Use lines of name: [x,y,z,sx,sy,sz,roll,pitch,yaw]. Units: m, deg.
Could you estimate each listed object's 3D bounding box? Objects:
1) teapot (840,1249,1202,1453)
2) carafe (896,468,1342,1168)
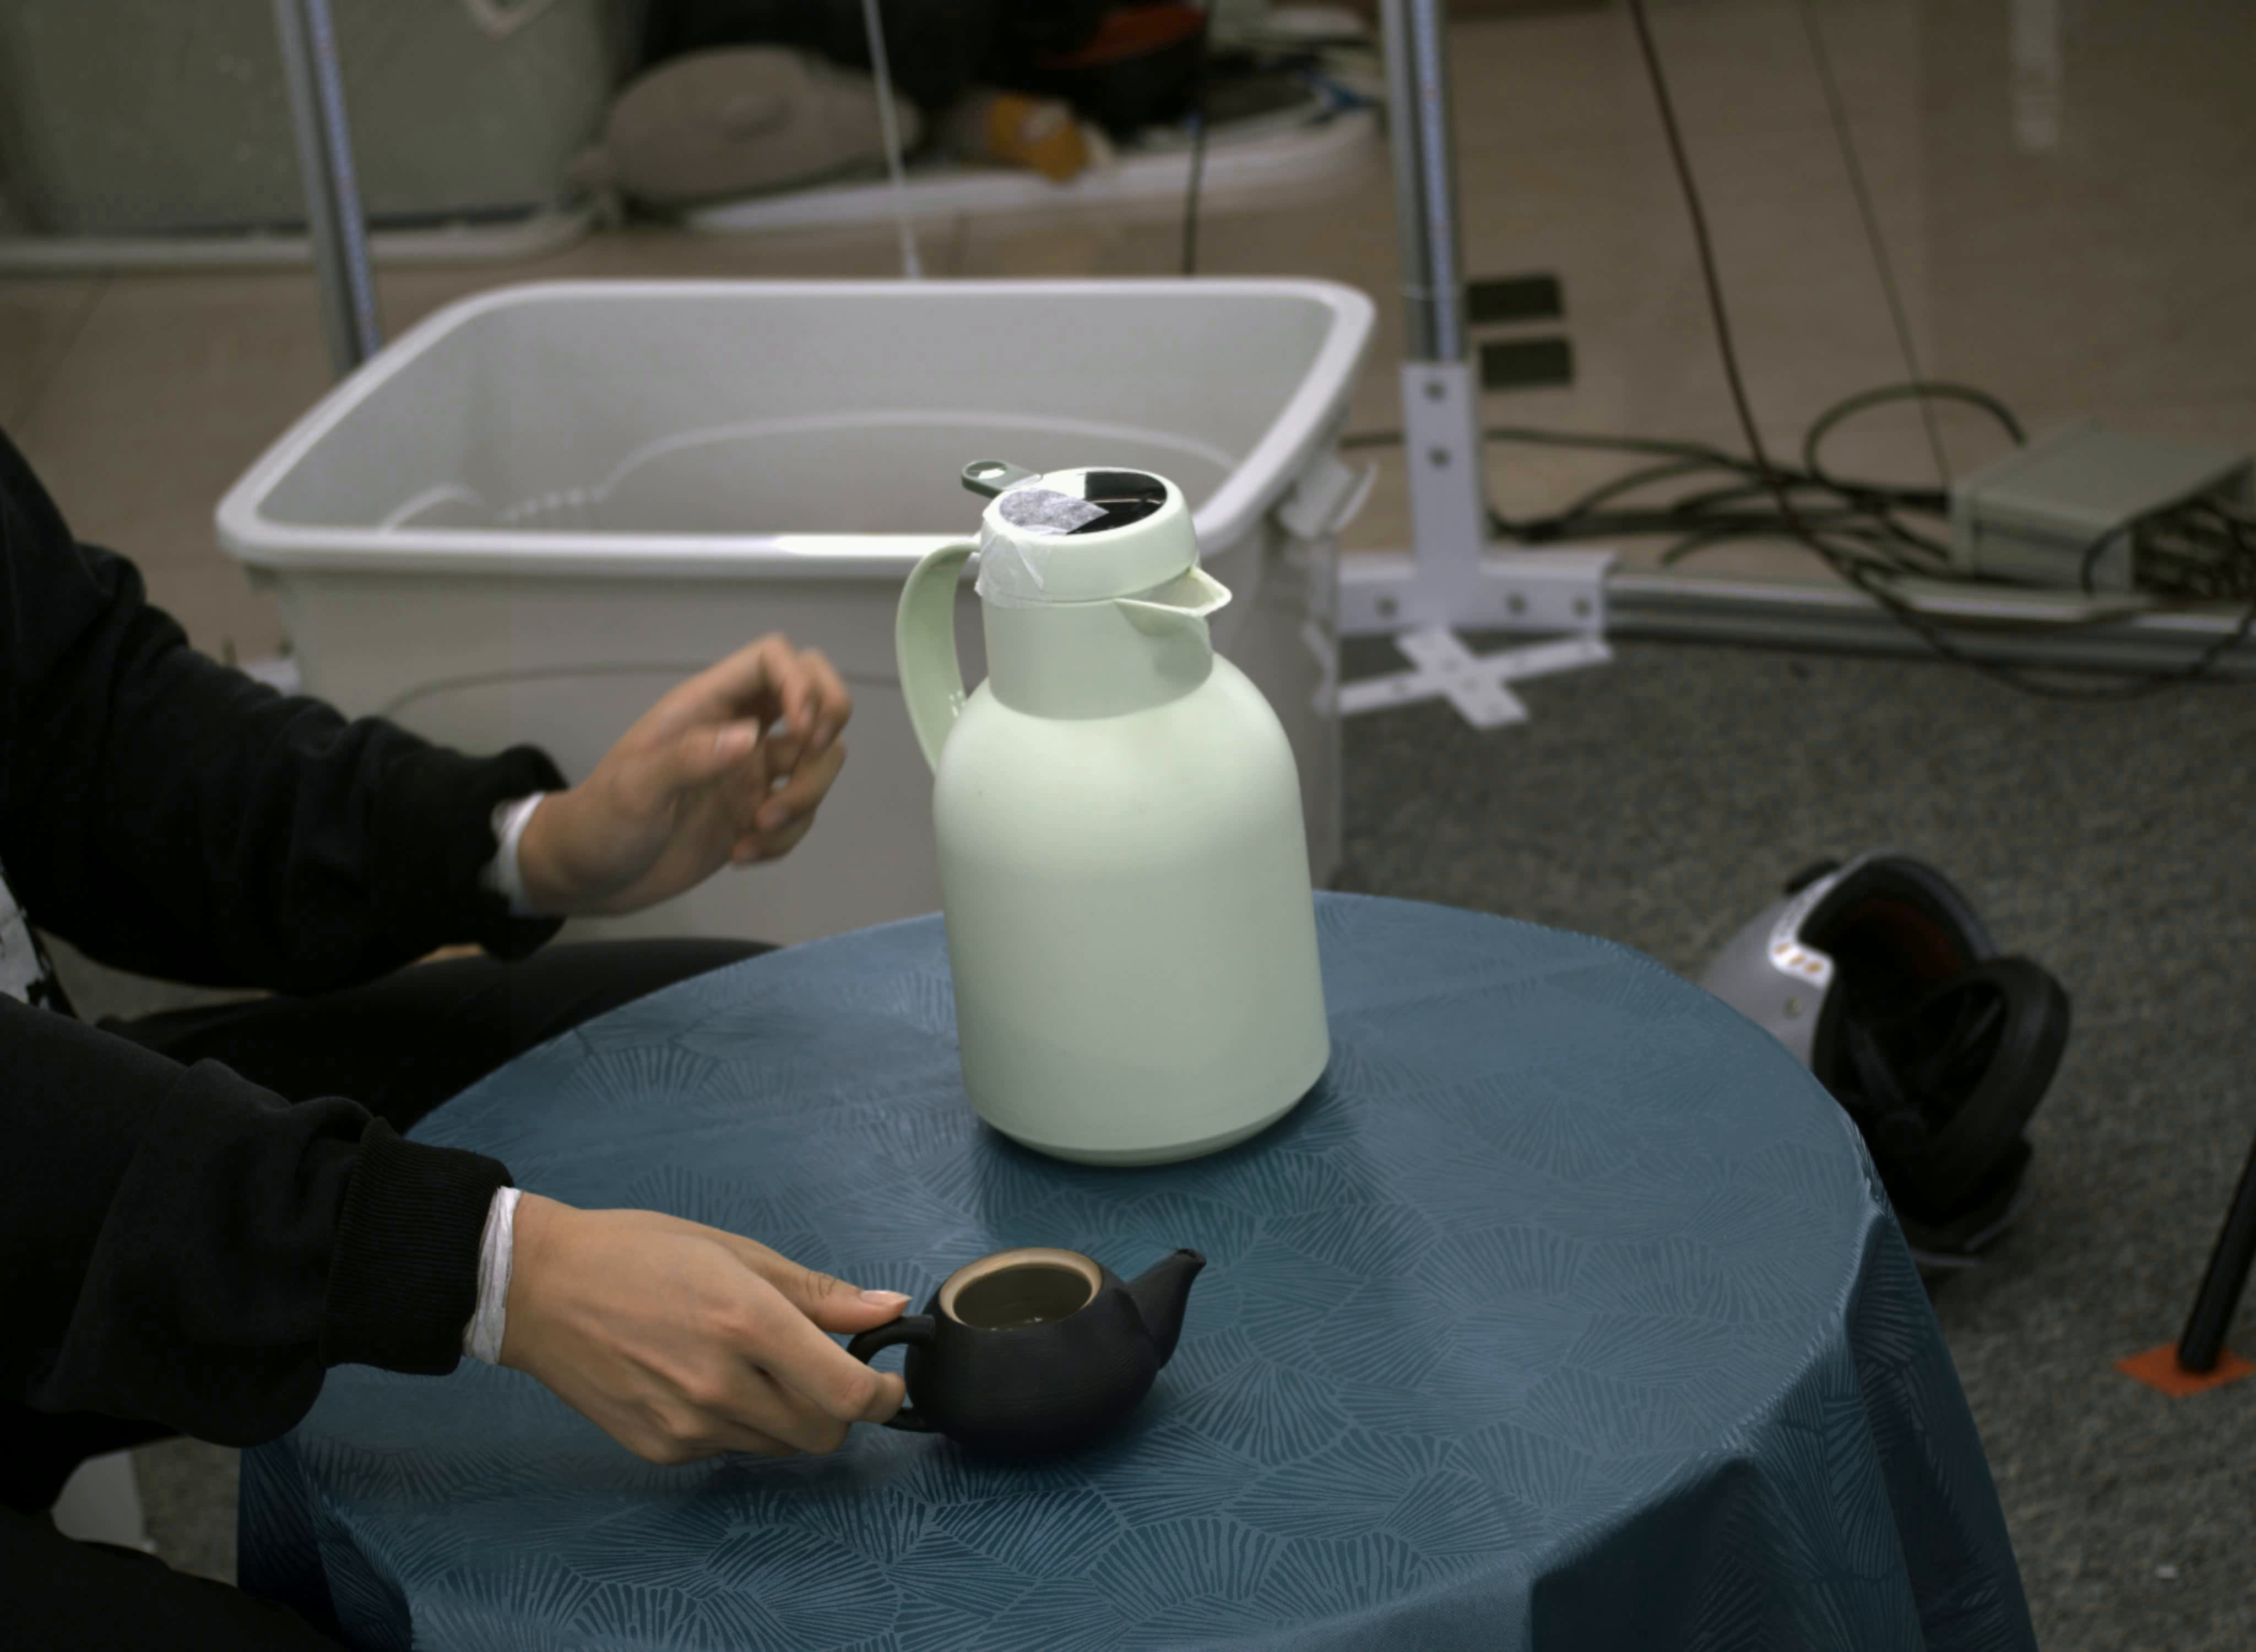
teapot: [-0.036,0.185,1.995,0.133,0.054,0.090,-12,24,-11]
carafe: [-0.012,-0.011,2.174,0.143,0.261,0.185,-28,30,-35]
